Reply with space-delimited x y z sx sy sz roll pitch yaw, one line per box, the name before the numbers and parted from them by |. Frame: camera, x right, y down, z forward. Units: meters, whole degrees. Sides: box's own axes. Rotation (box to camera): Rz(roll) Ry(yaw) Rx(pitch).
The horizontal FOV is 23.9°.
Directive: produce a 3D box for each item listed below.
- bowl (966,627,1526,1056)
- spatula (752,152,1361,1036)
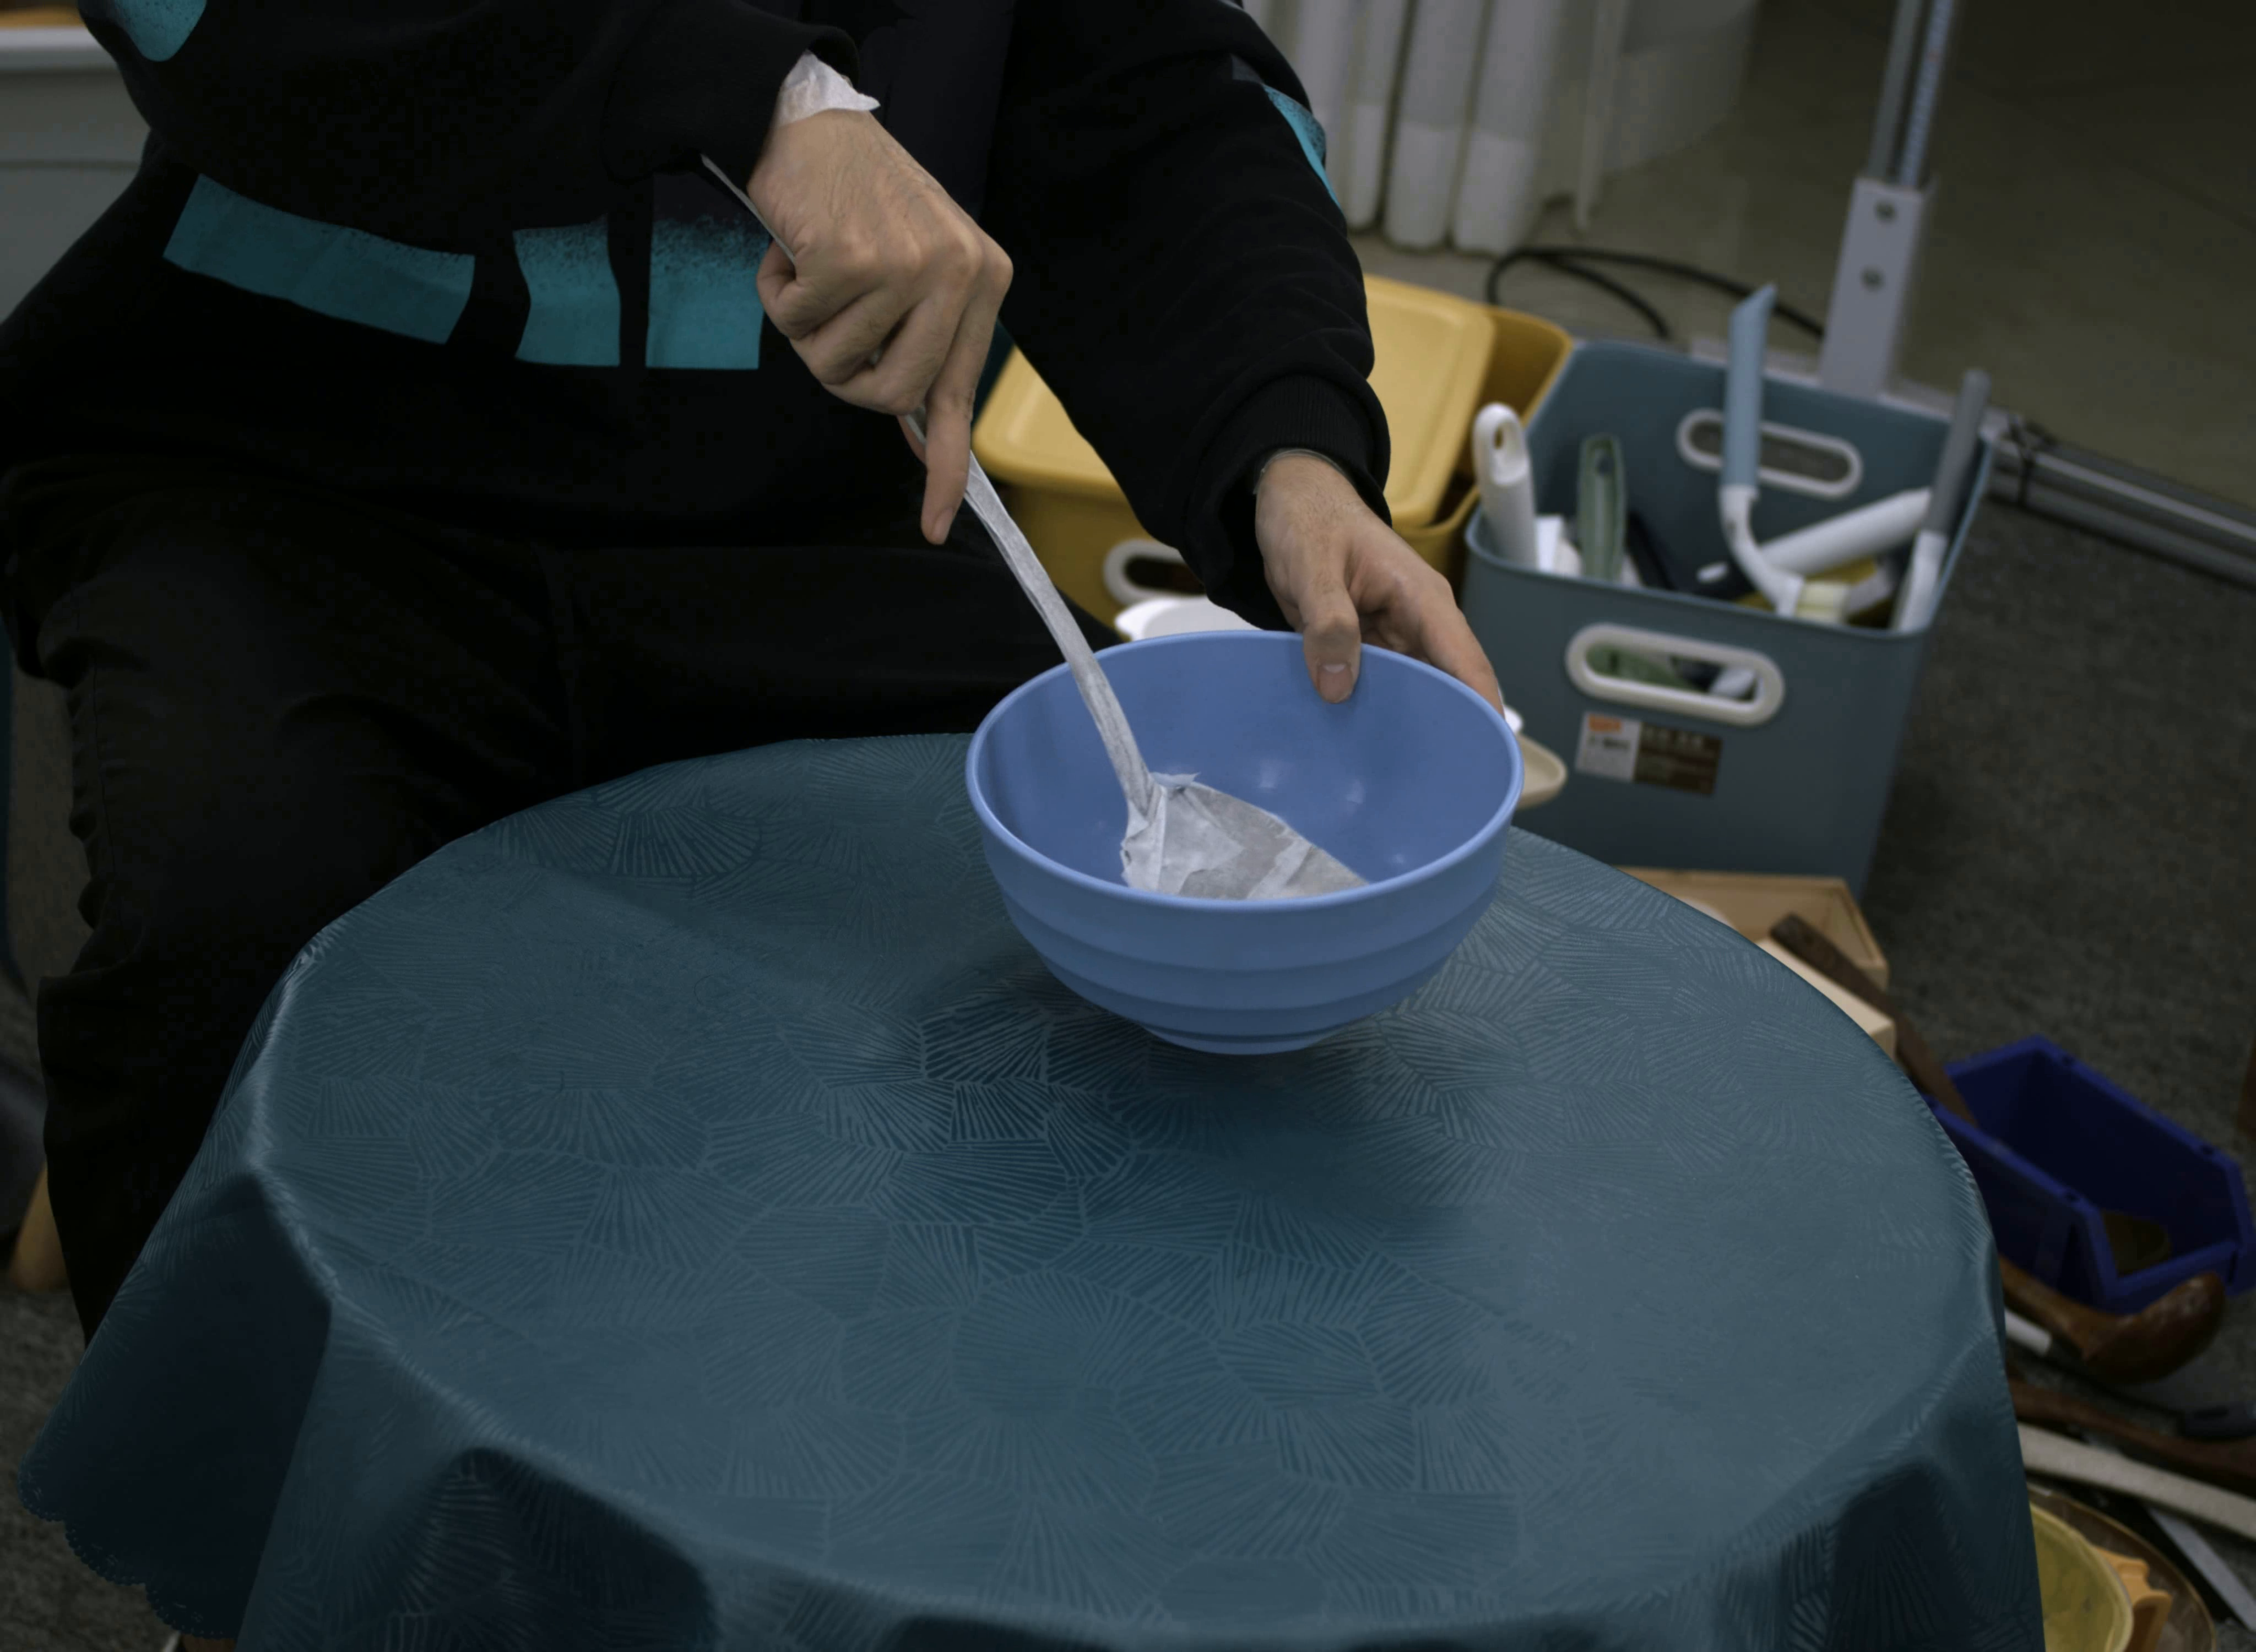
bowl | 0.041 0.017 1.885 0.196 0.095 0.198 -1 31 0
spatula | -0.026 -0.085 1.862 0.045 0.364 0.098 -25 10 40
